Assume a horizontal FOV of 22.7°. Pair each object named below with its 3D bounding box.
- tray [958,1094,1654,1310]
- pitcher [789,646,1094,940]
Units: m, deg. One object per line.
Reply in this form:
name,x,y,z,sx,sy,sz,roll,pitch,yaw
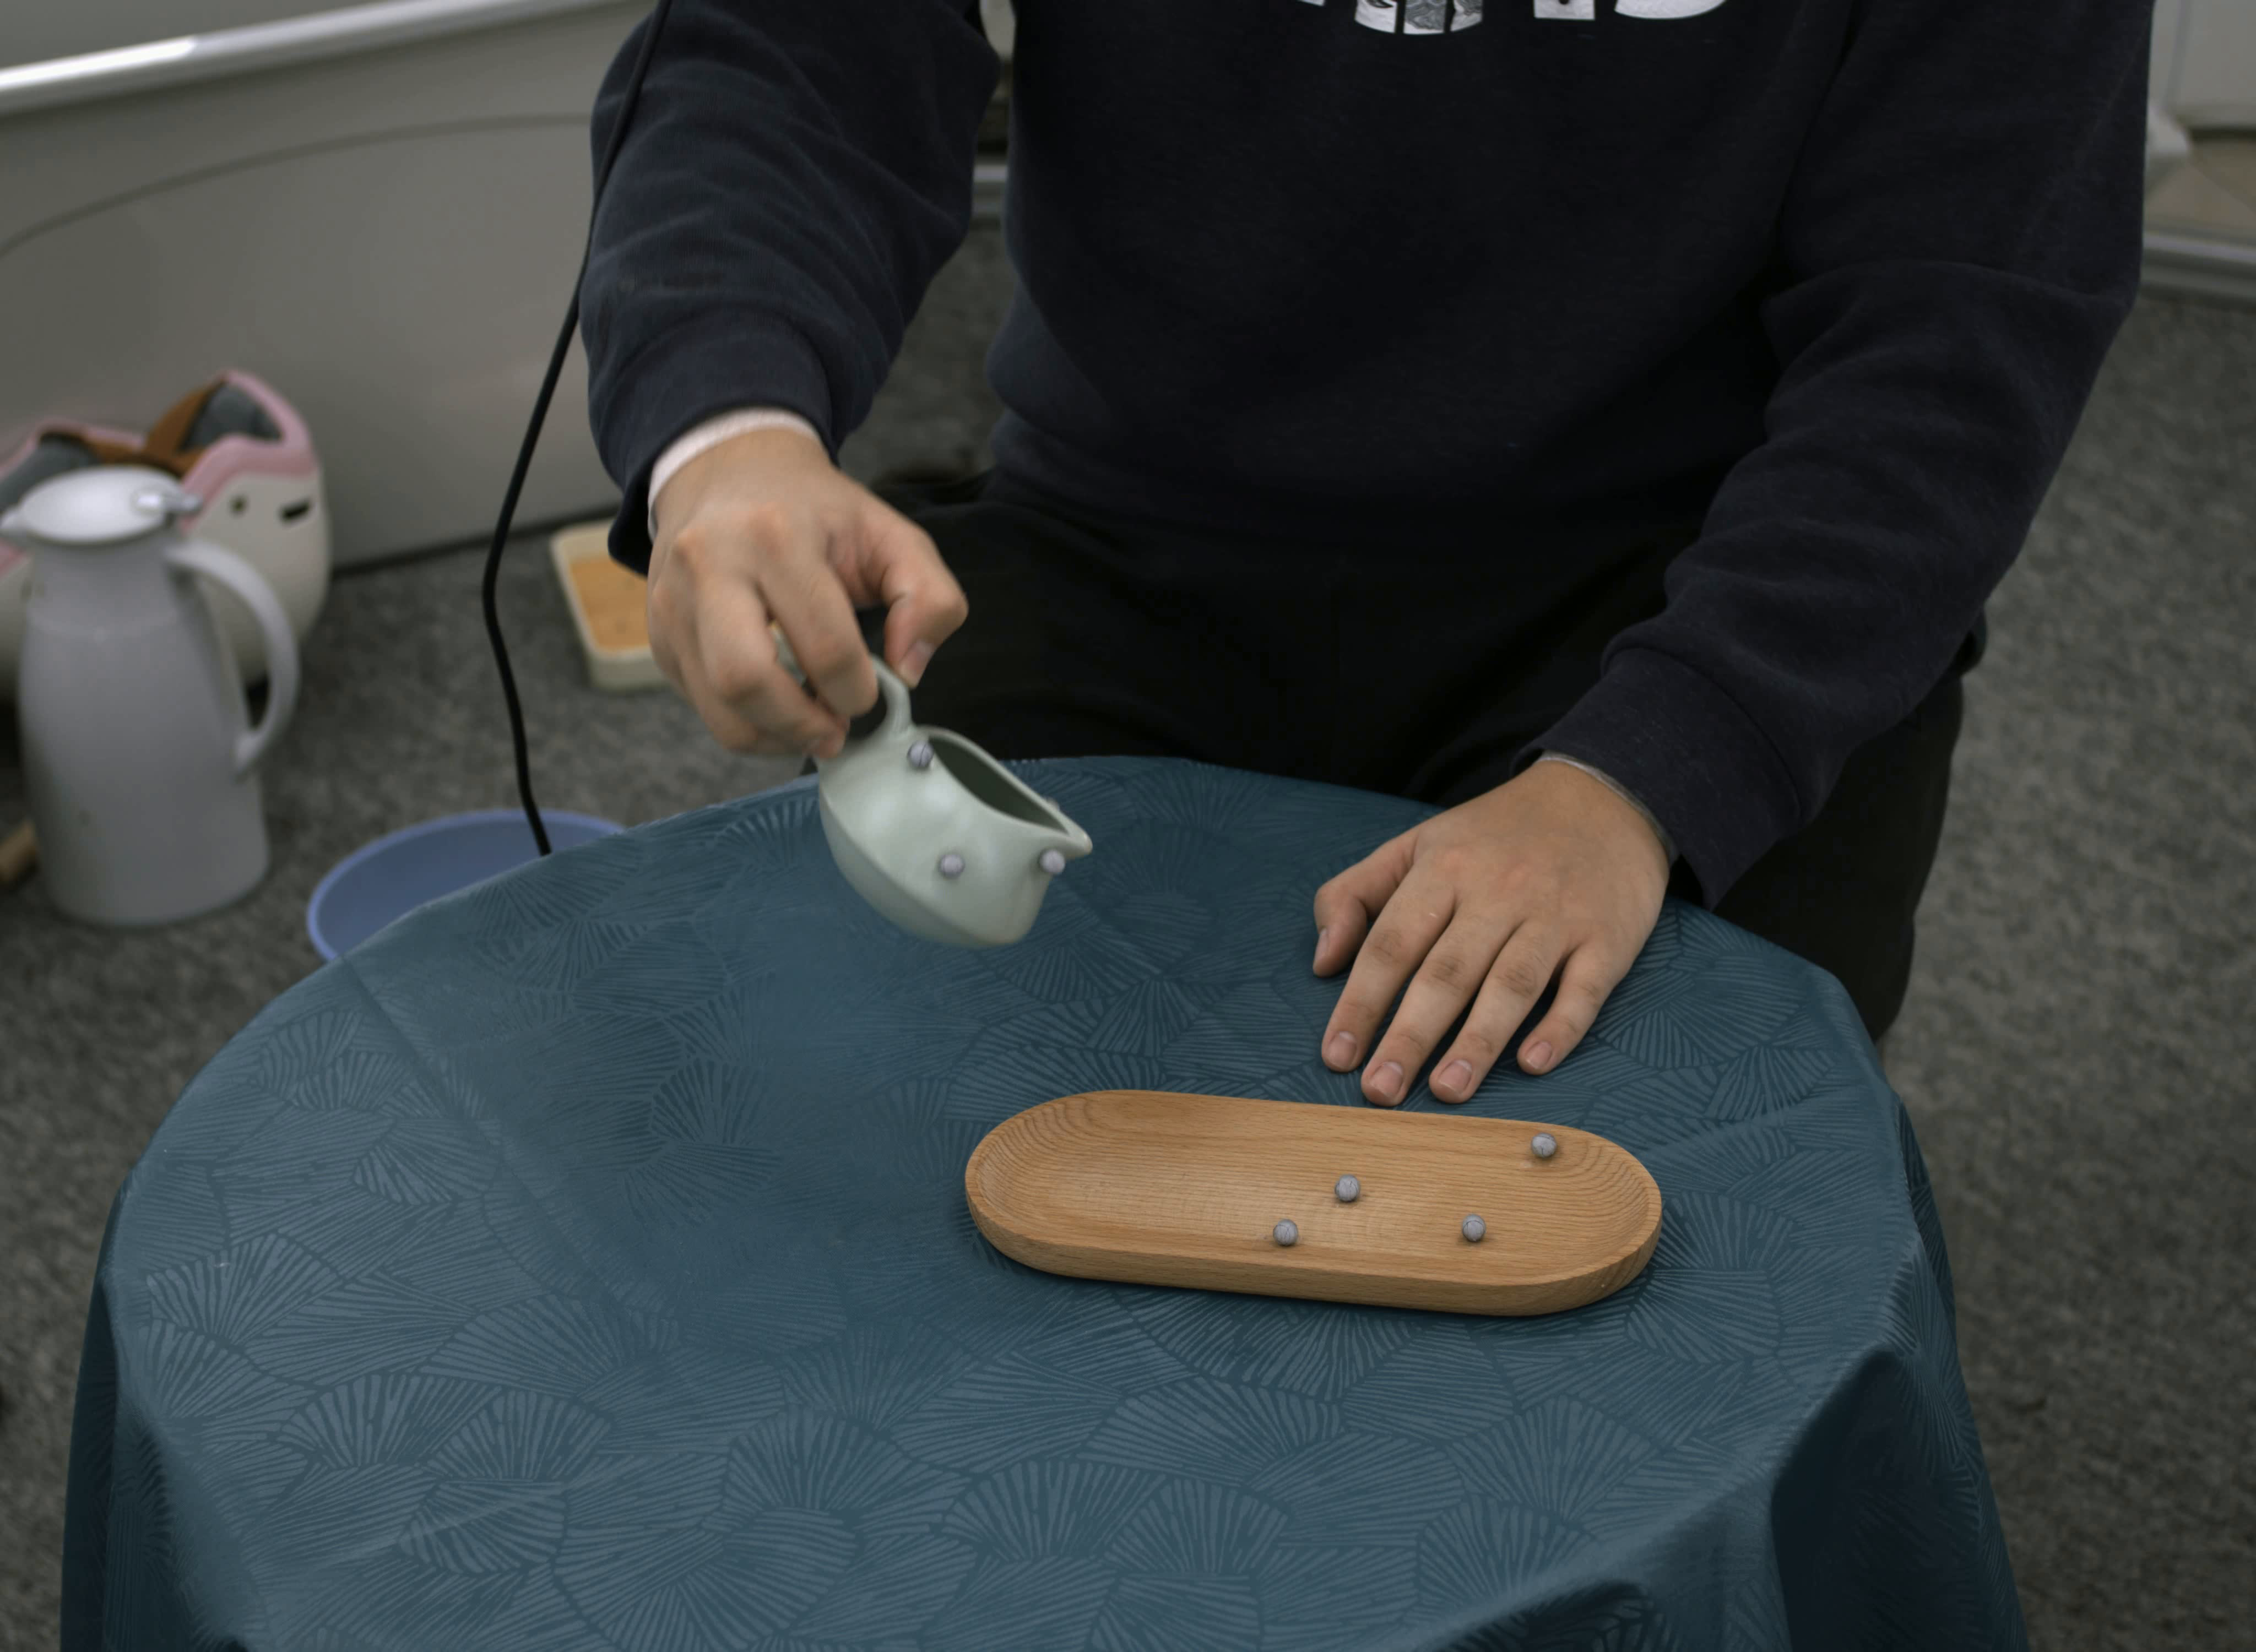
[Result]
tray,0.057,0.123,1.840,0.229,0.020,0.103,2,26,13
pitcher,-0.068,-0.009,1.815,0.107,0.060,0.087,39,14,-8
